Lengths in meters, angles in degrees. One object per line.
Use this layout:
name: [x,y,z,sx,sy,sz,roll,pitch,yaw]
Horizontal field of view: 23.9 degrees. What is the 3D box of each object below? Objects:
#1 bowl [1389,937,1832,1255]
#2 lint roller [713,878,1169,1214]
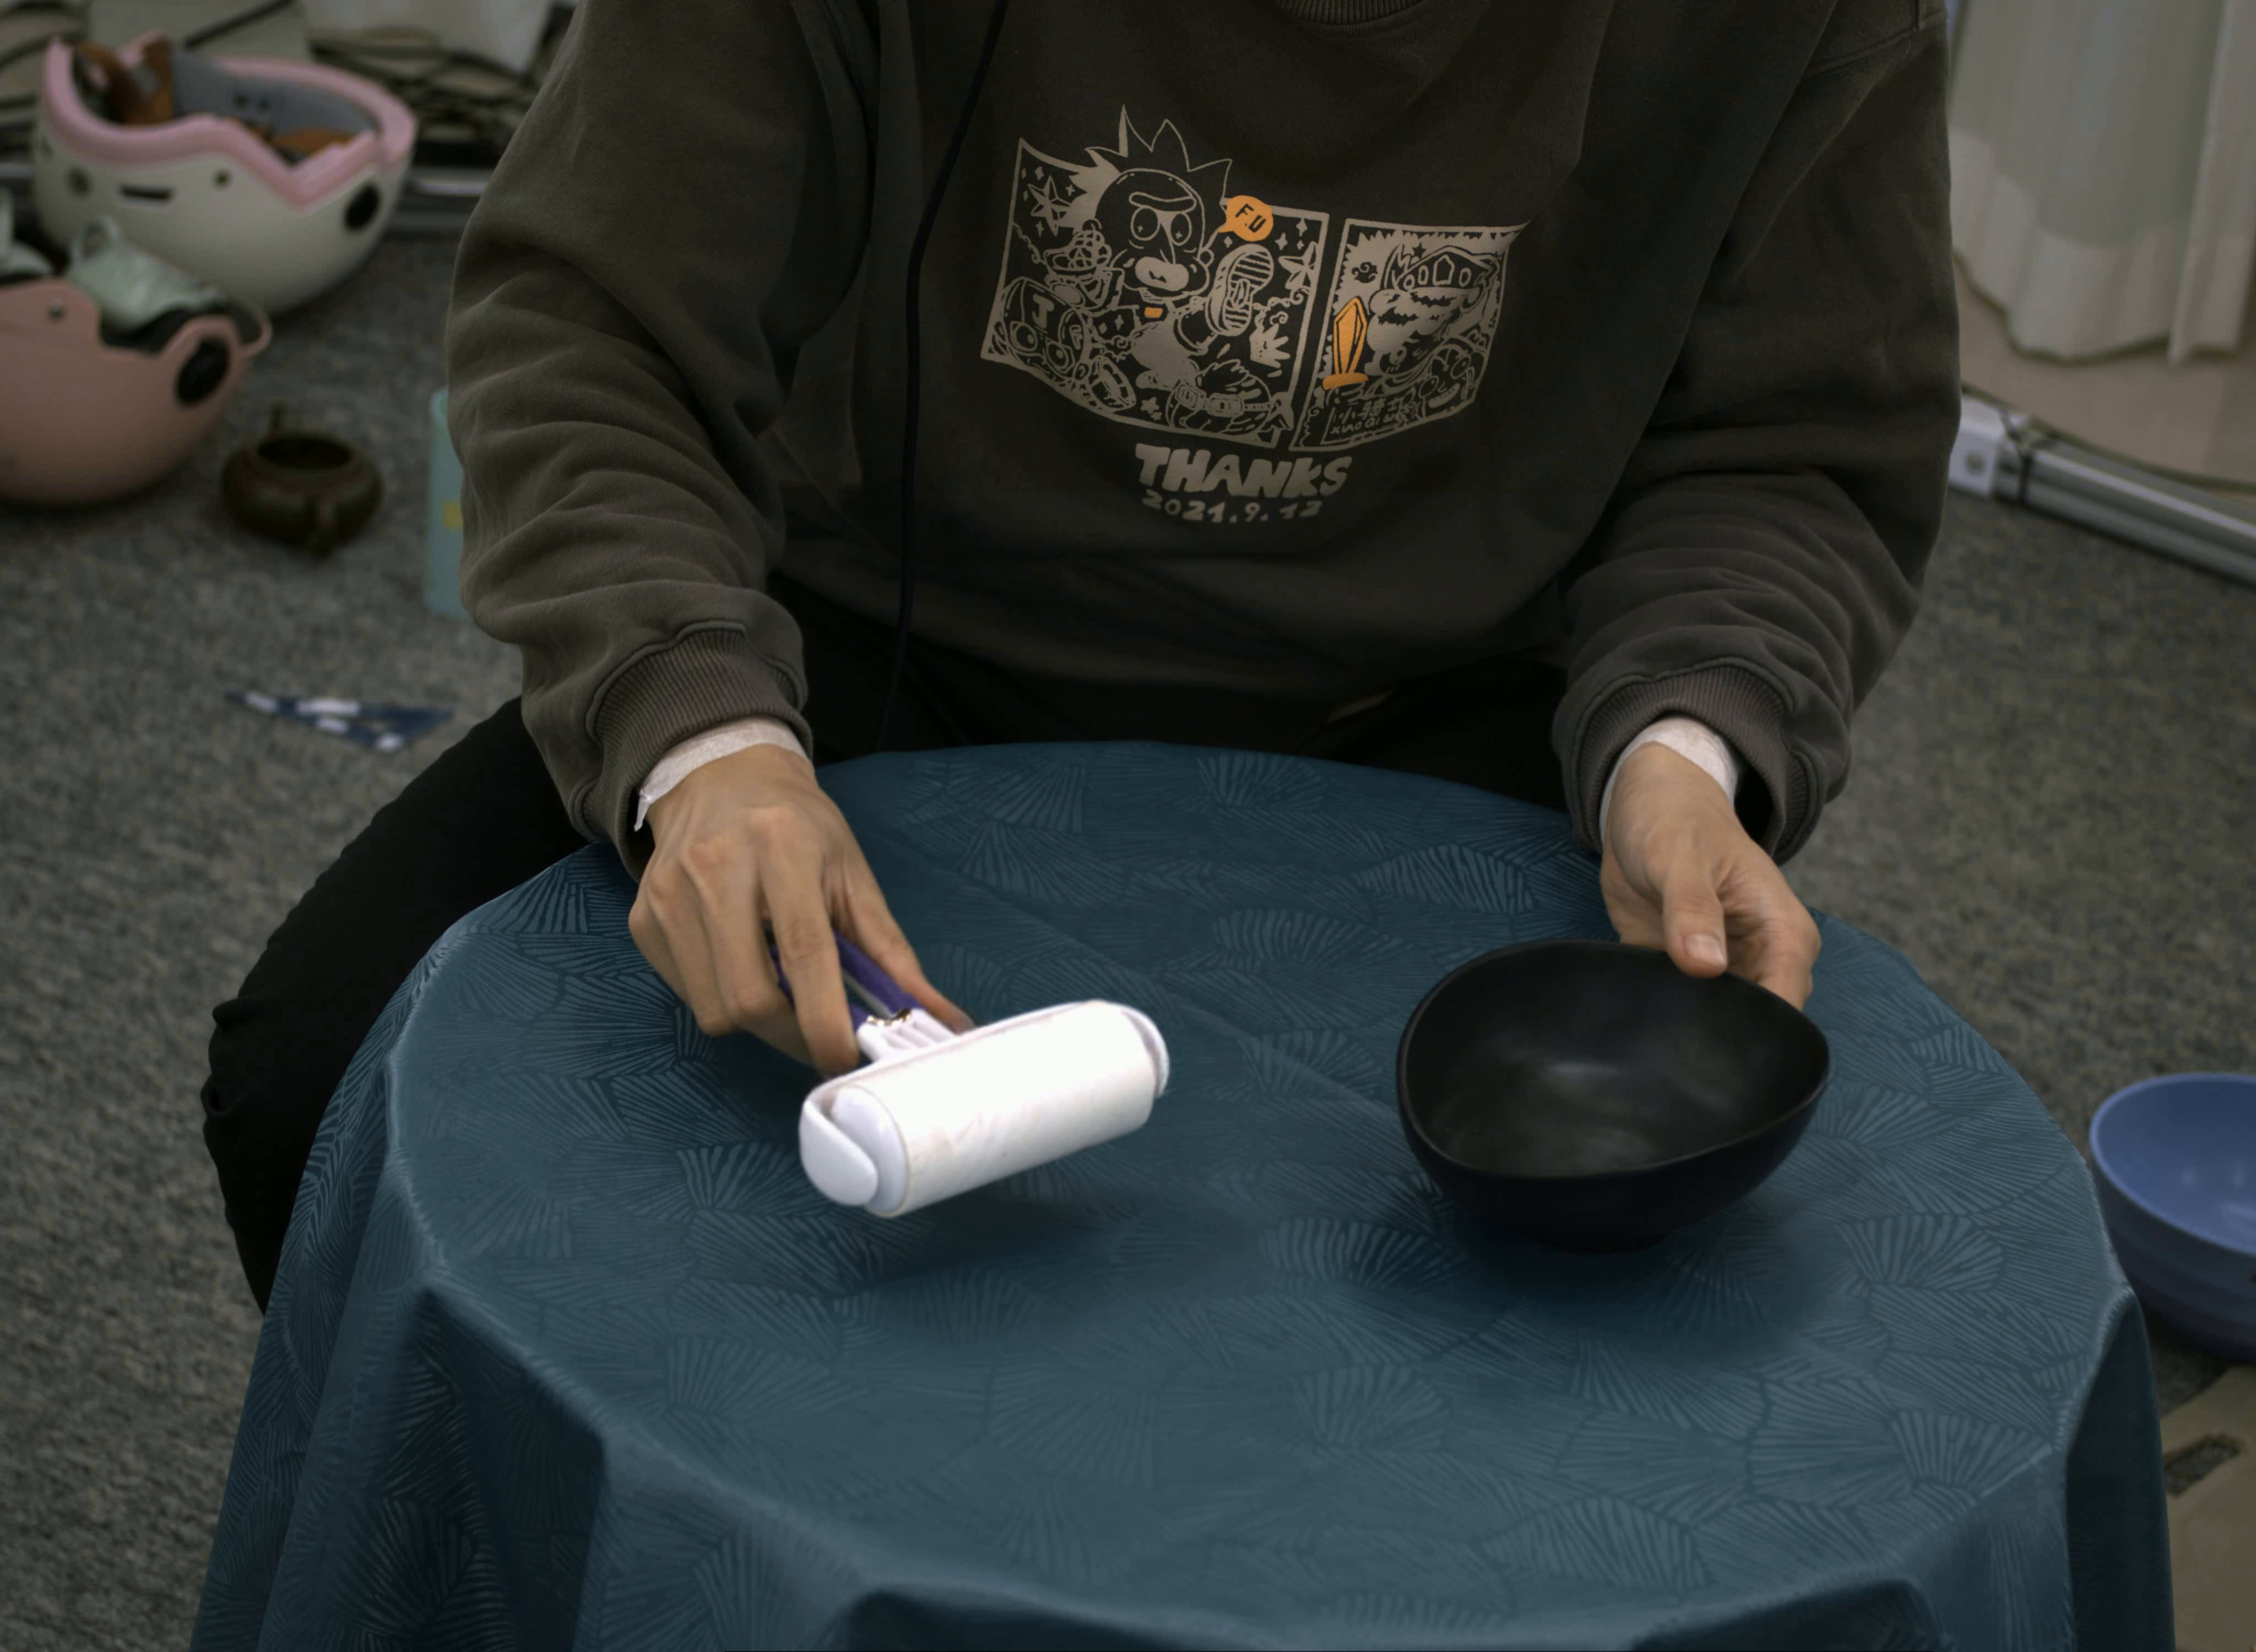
bowl: [0.162,0.102,1.814,0.138,0.066,0.169,24,33,34]
lint roller: [-0.081,0.055,1.784,0.132,0.050,0.182,-16,44,-32]
